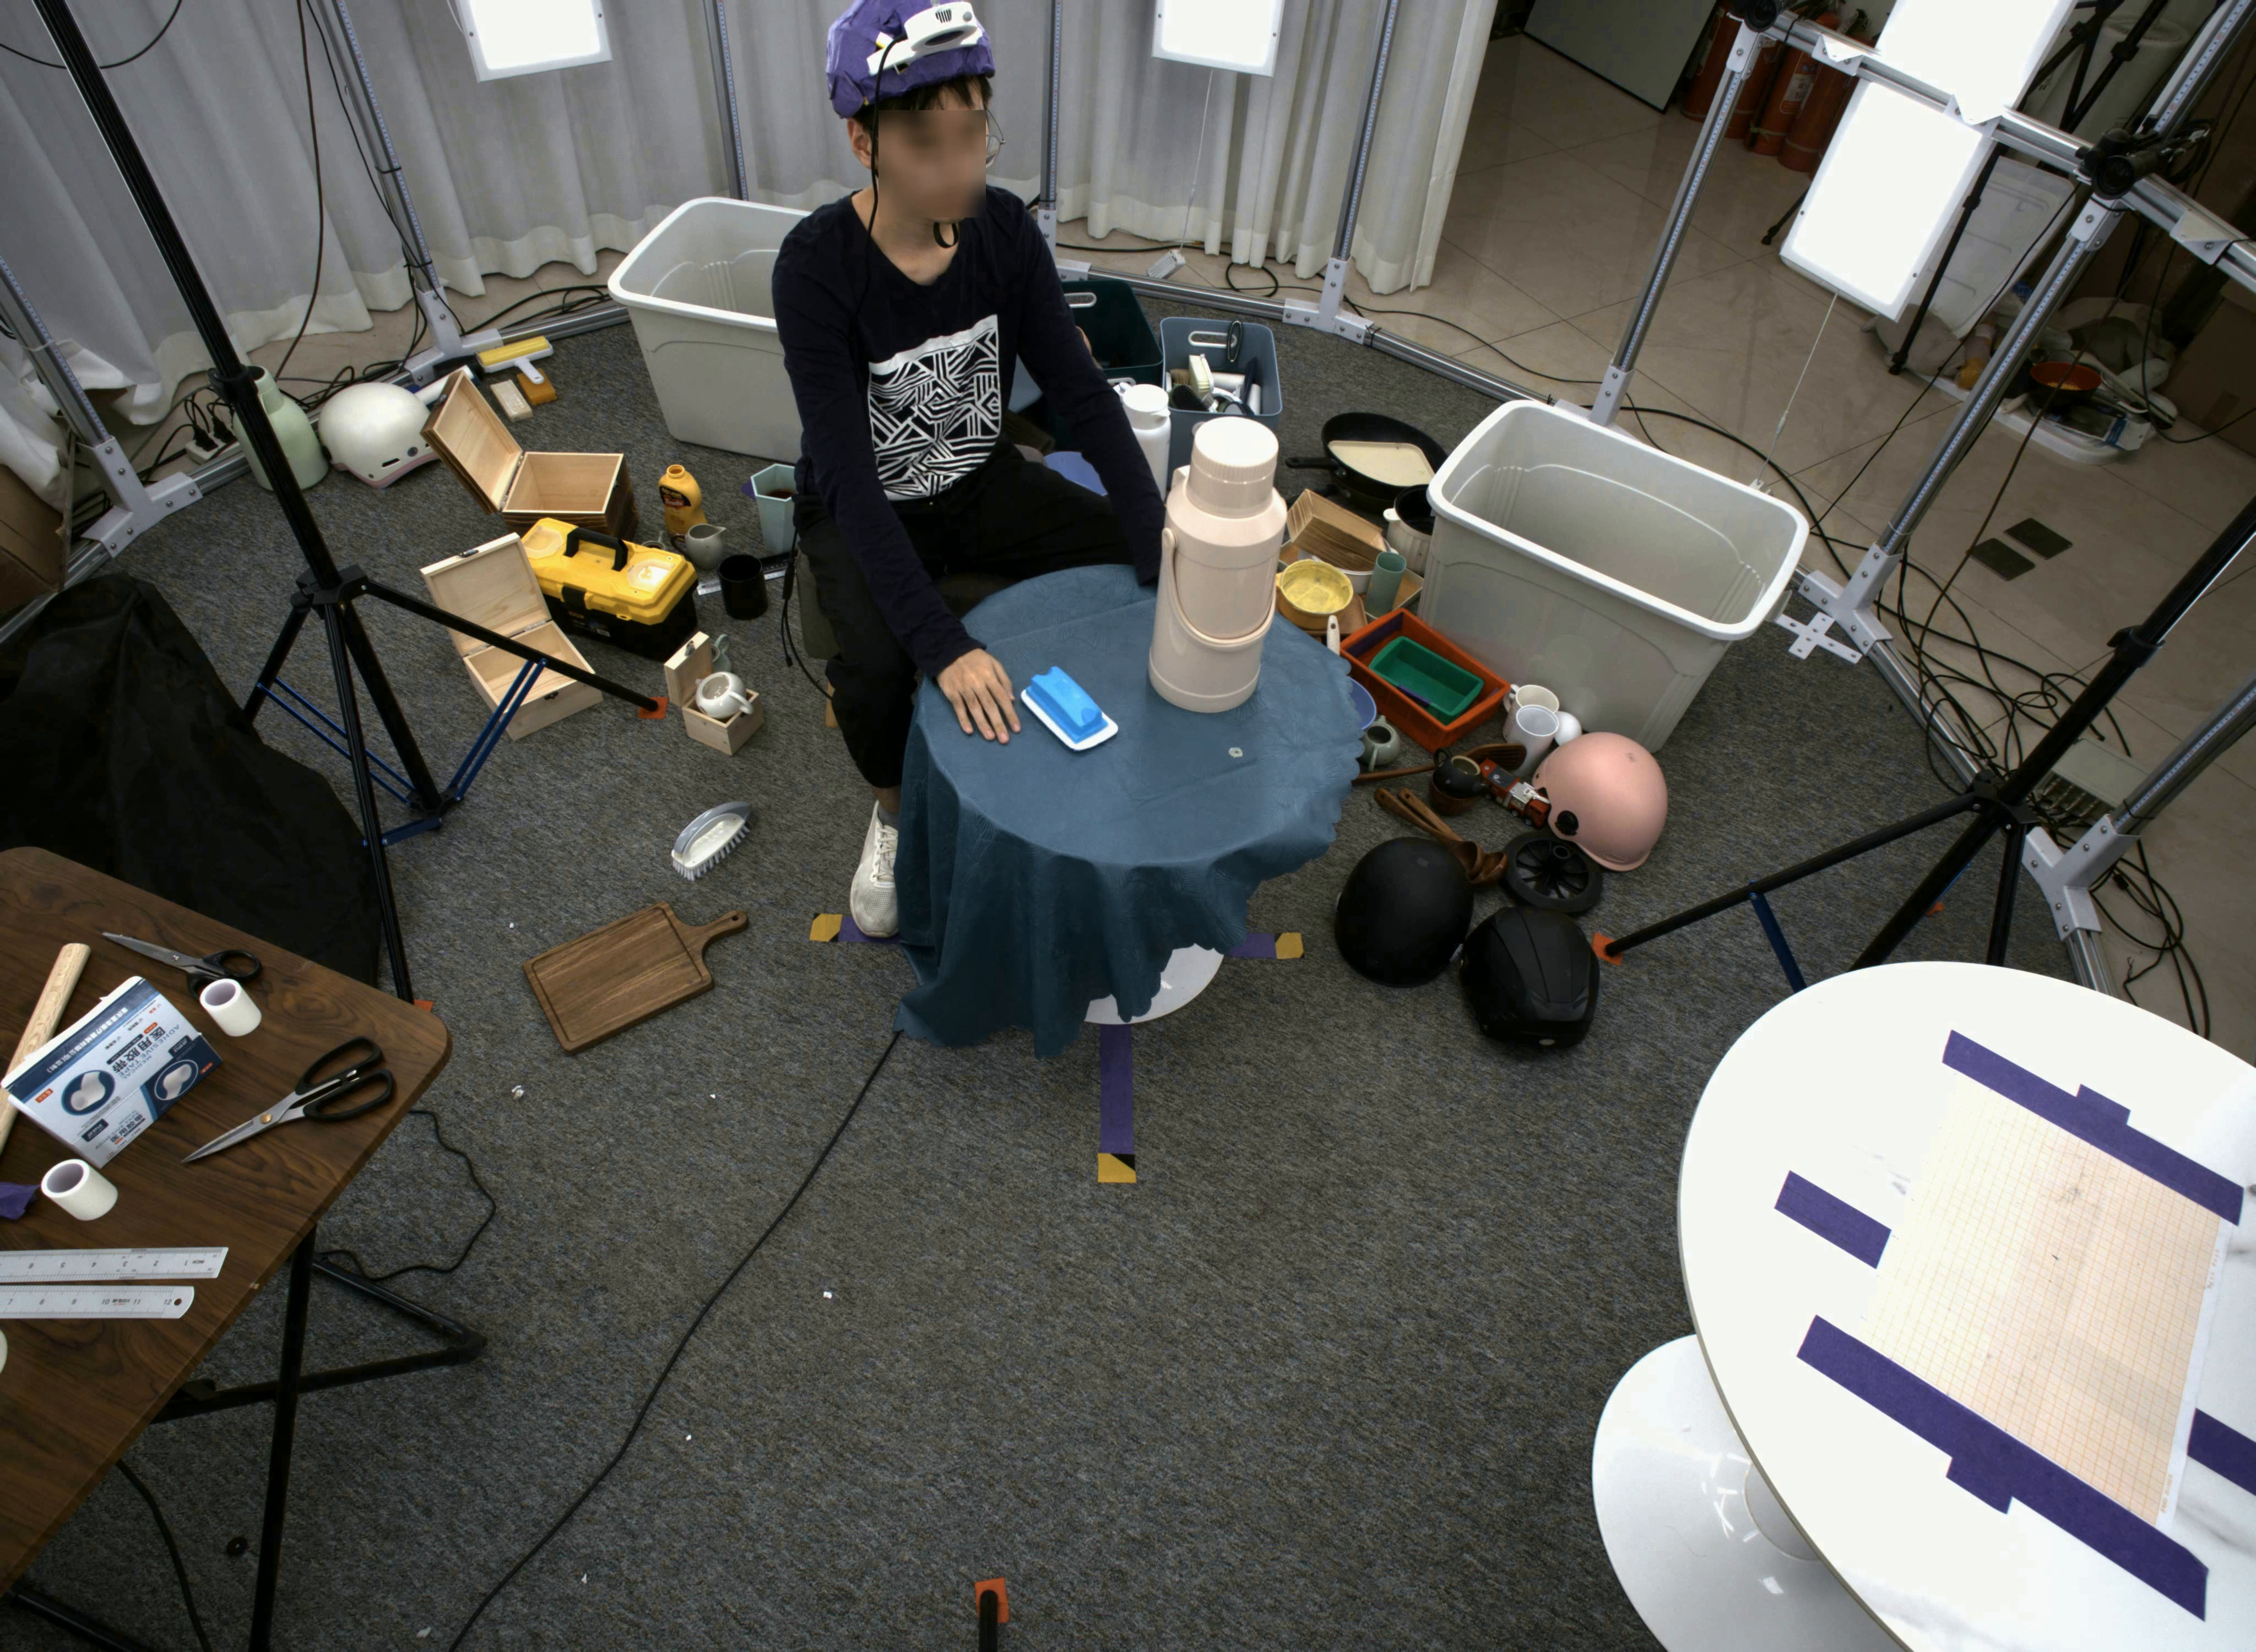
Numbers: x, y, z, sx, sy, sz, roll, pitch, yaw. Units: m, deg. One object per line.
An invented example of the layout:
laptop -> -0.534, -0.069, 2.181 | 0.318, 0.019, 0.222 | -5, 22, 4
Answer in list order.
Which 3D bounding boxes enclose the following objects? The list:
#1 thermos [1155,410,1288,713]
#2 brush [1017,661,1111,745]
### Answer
thermos -> 0.118, -0.357, 1.730 | 0.176, 0.396, 0.211 | -22, 53, -19
brush -> -0.087, -0.177, 1.775 | 0.084, 0.054, 0.147 | -24, 57, -26
